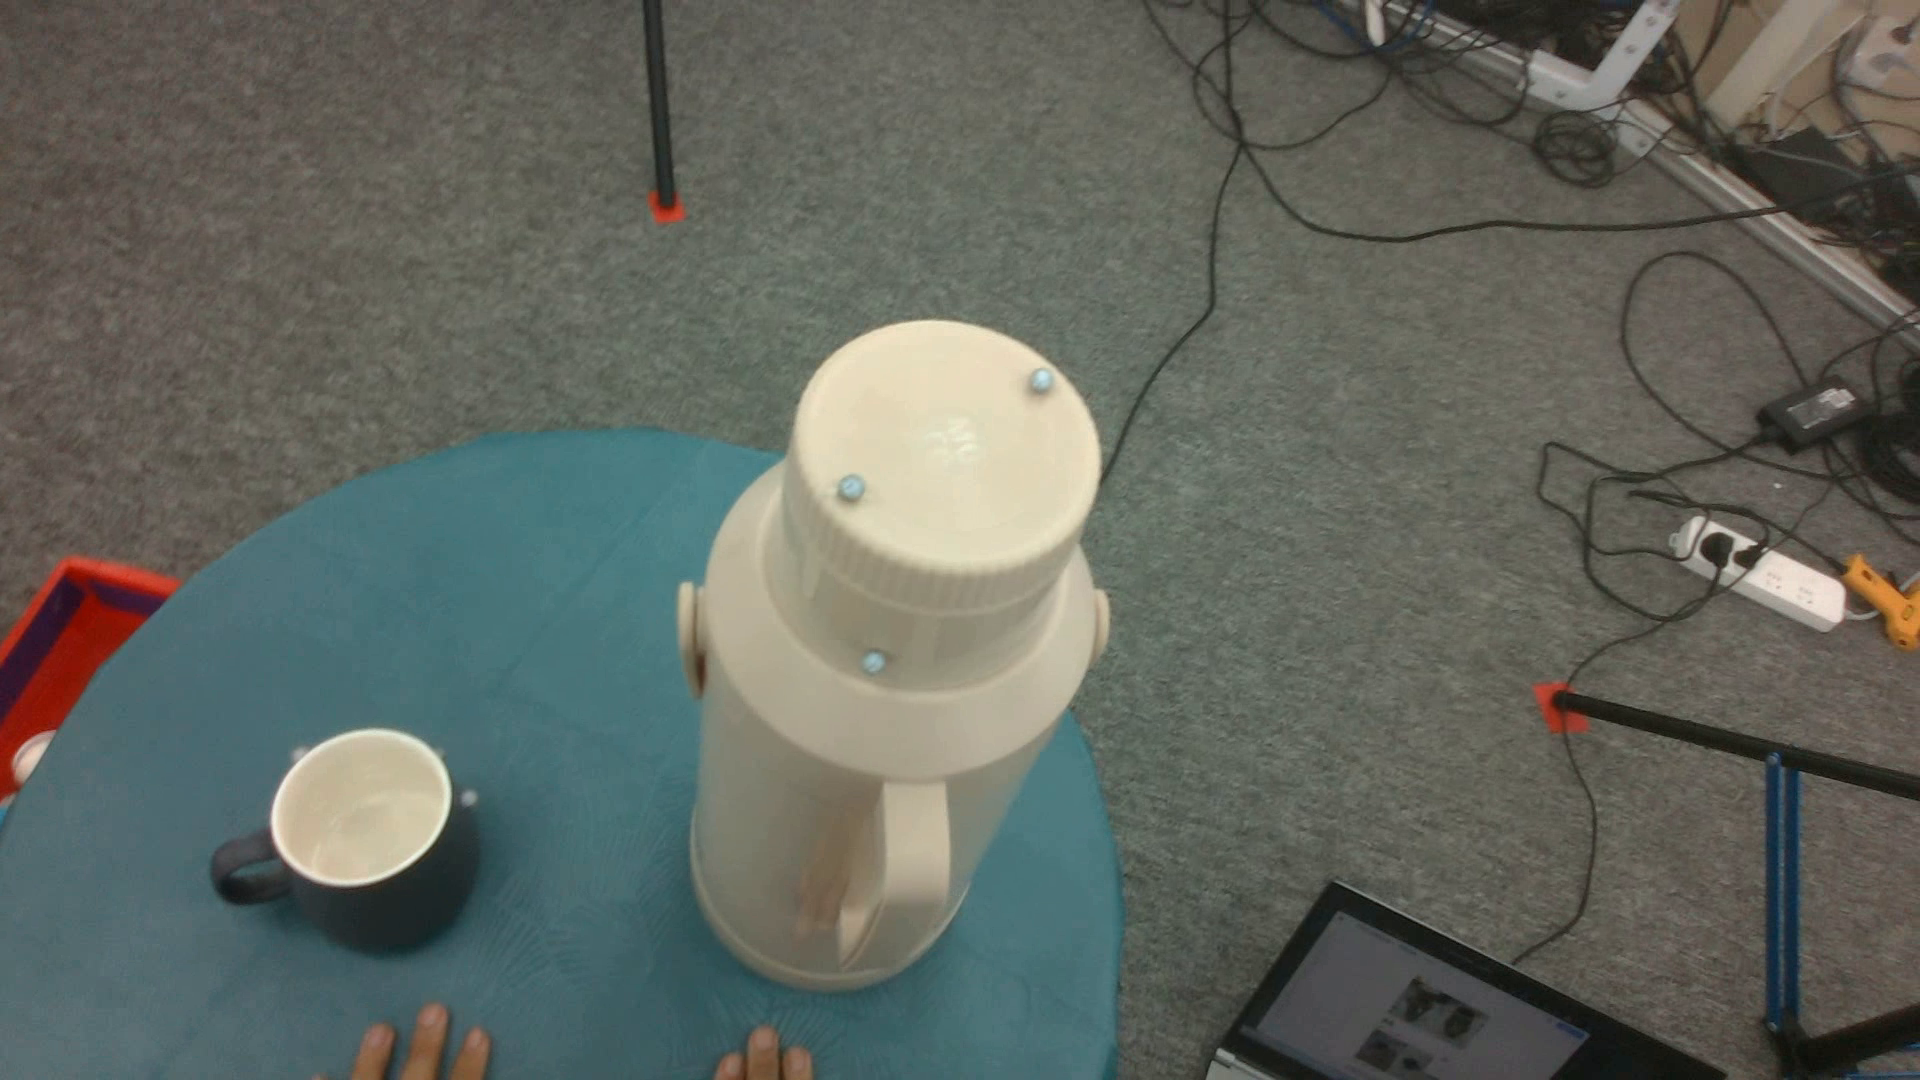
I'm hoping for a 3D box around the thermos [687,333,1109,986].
[{"bbox_3d":[-0.034,0.087,0.631,0.175,0.404,0.208,-2,58,-11],"label":"thermos"}]

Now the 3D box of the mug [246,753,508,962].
[{"bbox_3d":[-0.302,0.168,0.714,0.123,0.089,0.094,-13,61,-18],"label":"mug"}]
